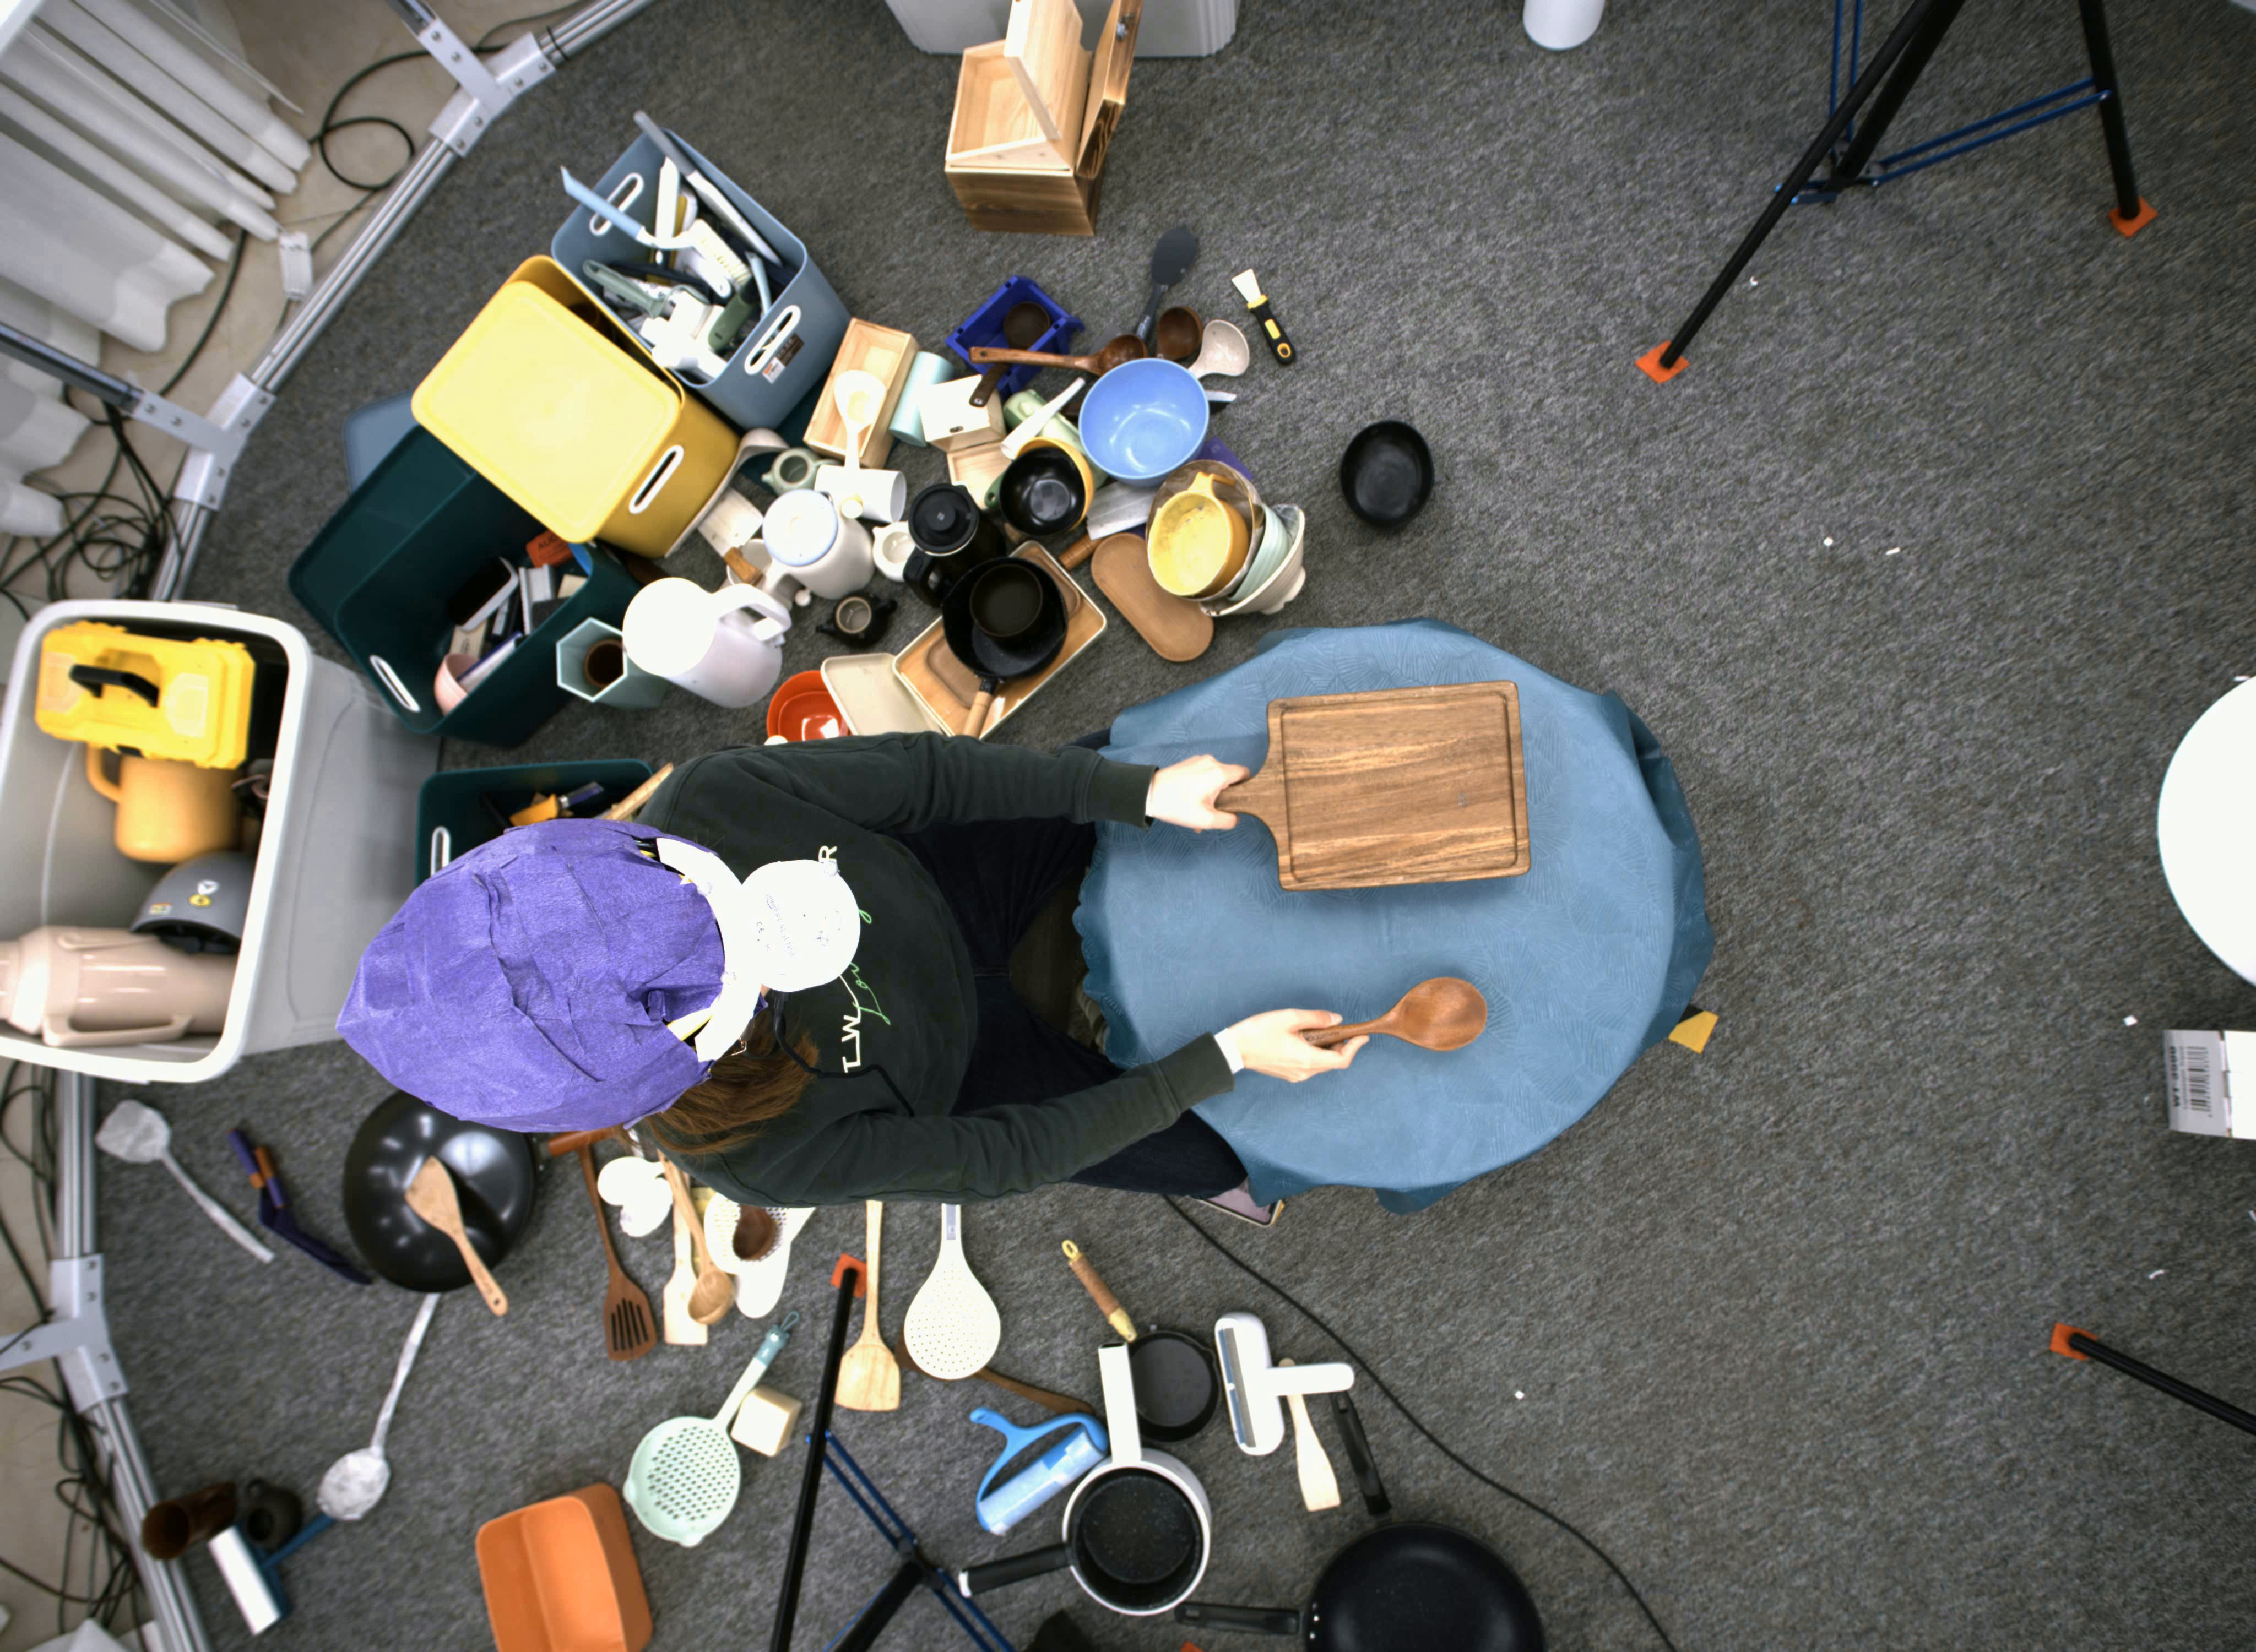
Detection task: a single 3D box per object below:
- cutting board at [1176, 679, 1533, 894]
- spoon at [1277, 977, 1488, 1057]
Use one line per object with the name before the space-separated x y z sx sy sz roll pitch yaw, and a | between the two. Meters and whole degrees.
cutting board | 0.223 -0.036 1.393 0.353 0.023 0.201 -4 94 8
spoon | 0.255 0.200 1.388 0.216 0.017 0.075 -10 83 -3
